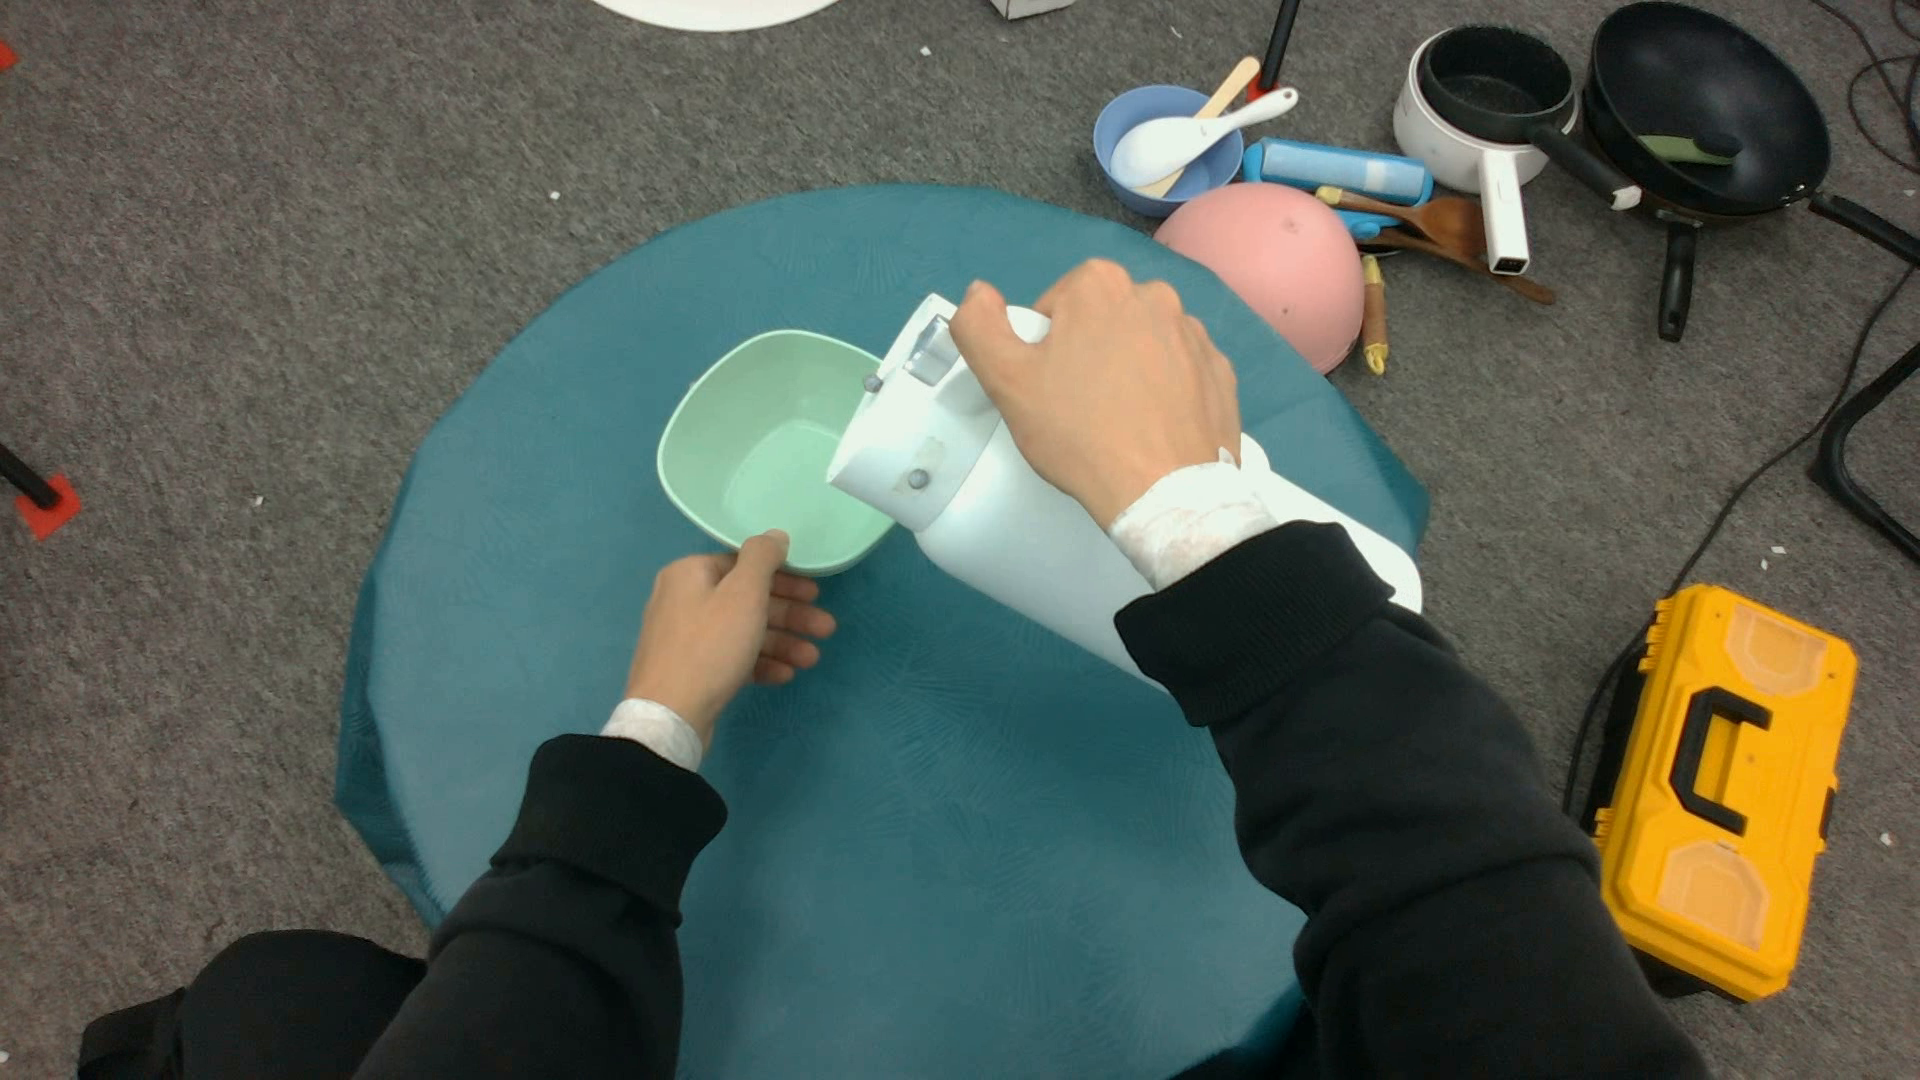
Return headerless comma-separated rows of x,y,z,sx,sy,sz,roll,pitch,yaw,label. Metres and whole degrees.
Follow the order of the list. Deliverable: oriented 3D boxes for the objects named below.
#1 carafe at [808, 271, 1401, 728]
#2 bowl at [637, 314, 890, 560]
0.075,-0.023,0.633,0.269,0.172,0.124,30,66,-12,carafe
-0.096,-0.047,0.753,0.151,0.058,0.152,1,62,-2,bowl
